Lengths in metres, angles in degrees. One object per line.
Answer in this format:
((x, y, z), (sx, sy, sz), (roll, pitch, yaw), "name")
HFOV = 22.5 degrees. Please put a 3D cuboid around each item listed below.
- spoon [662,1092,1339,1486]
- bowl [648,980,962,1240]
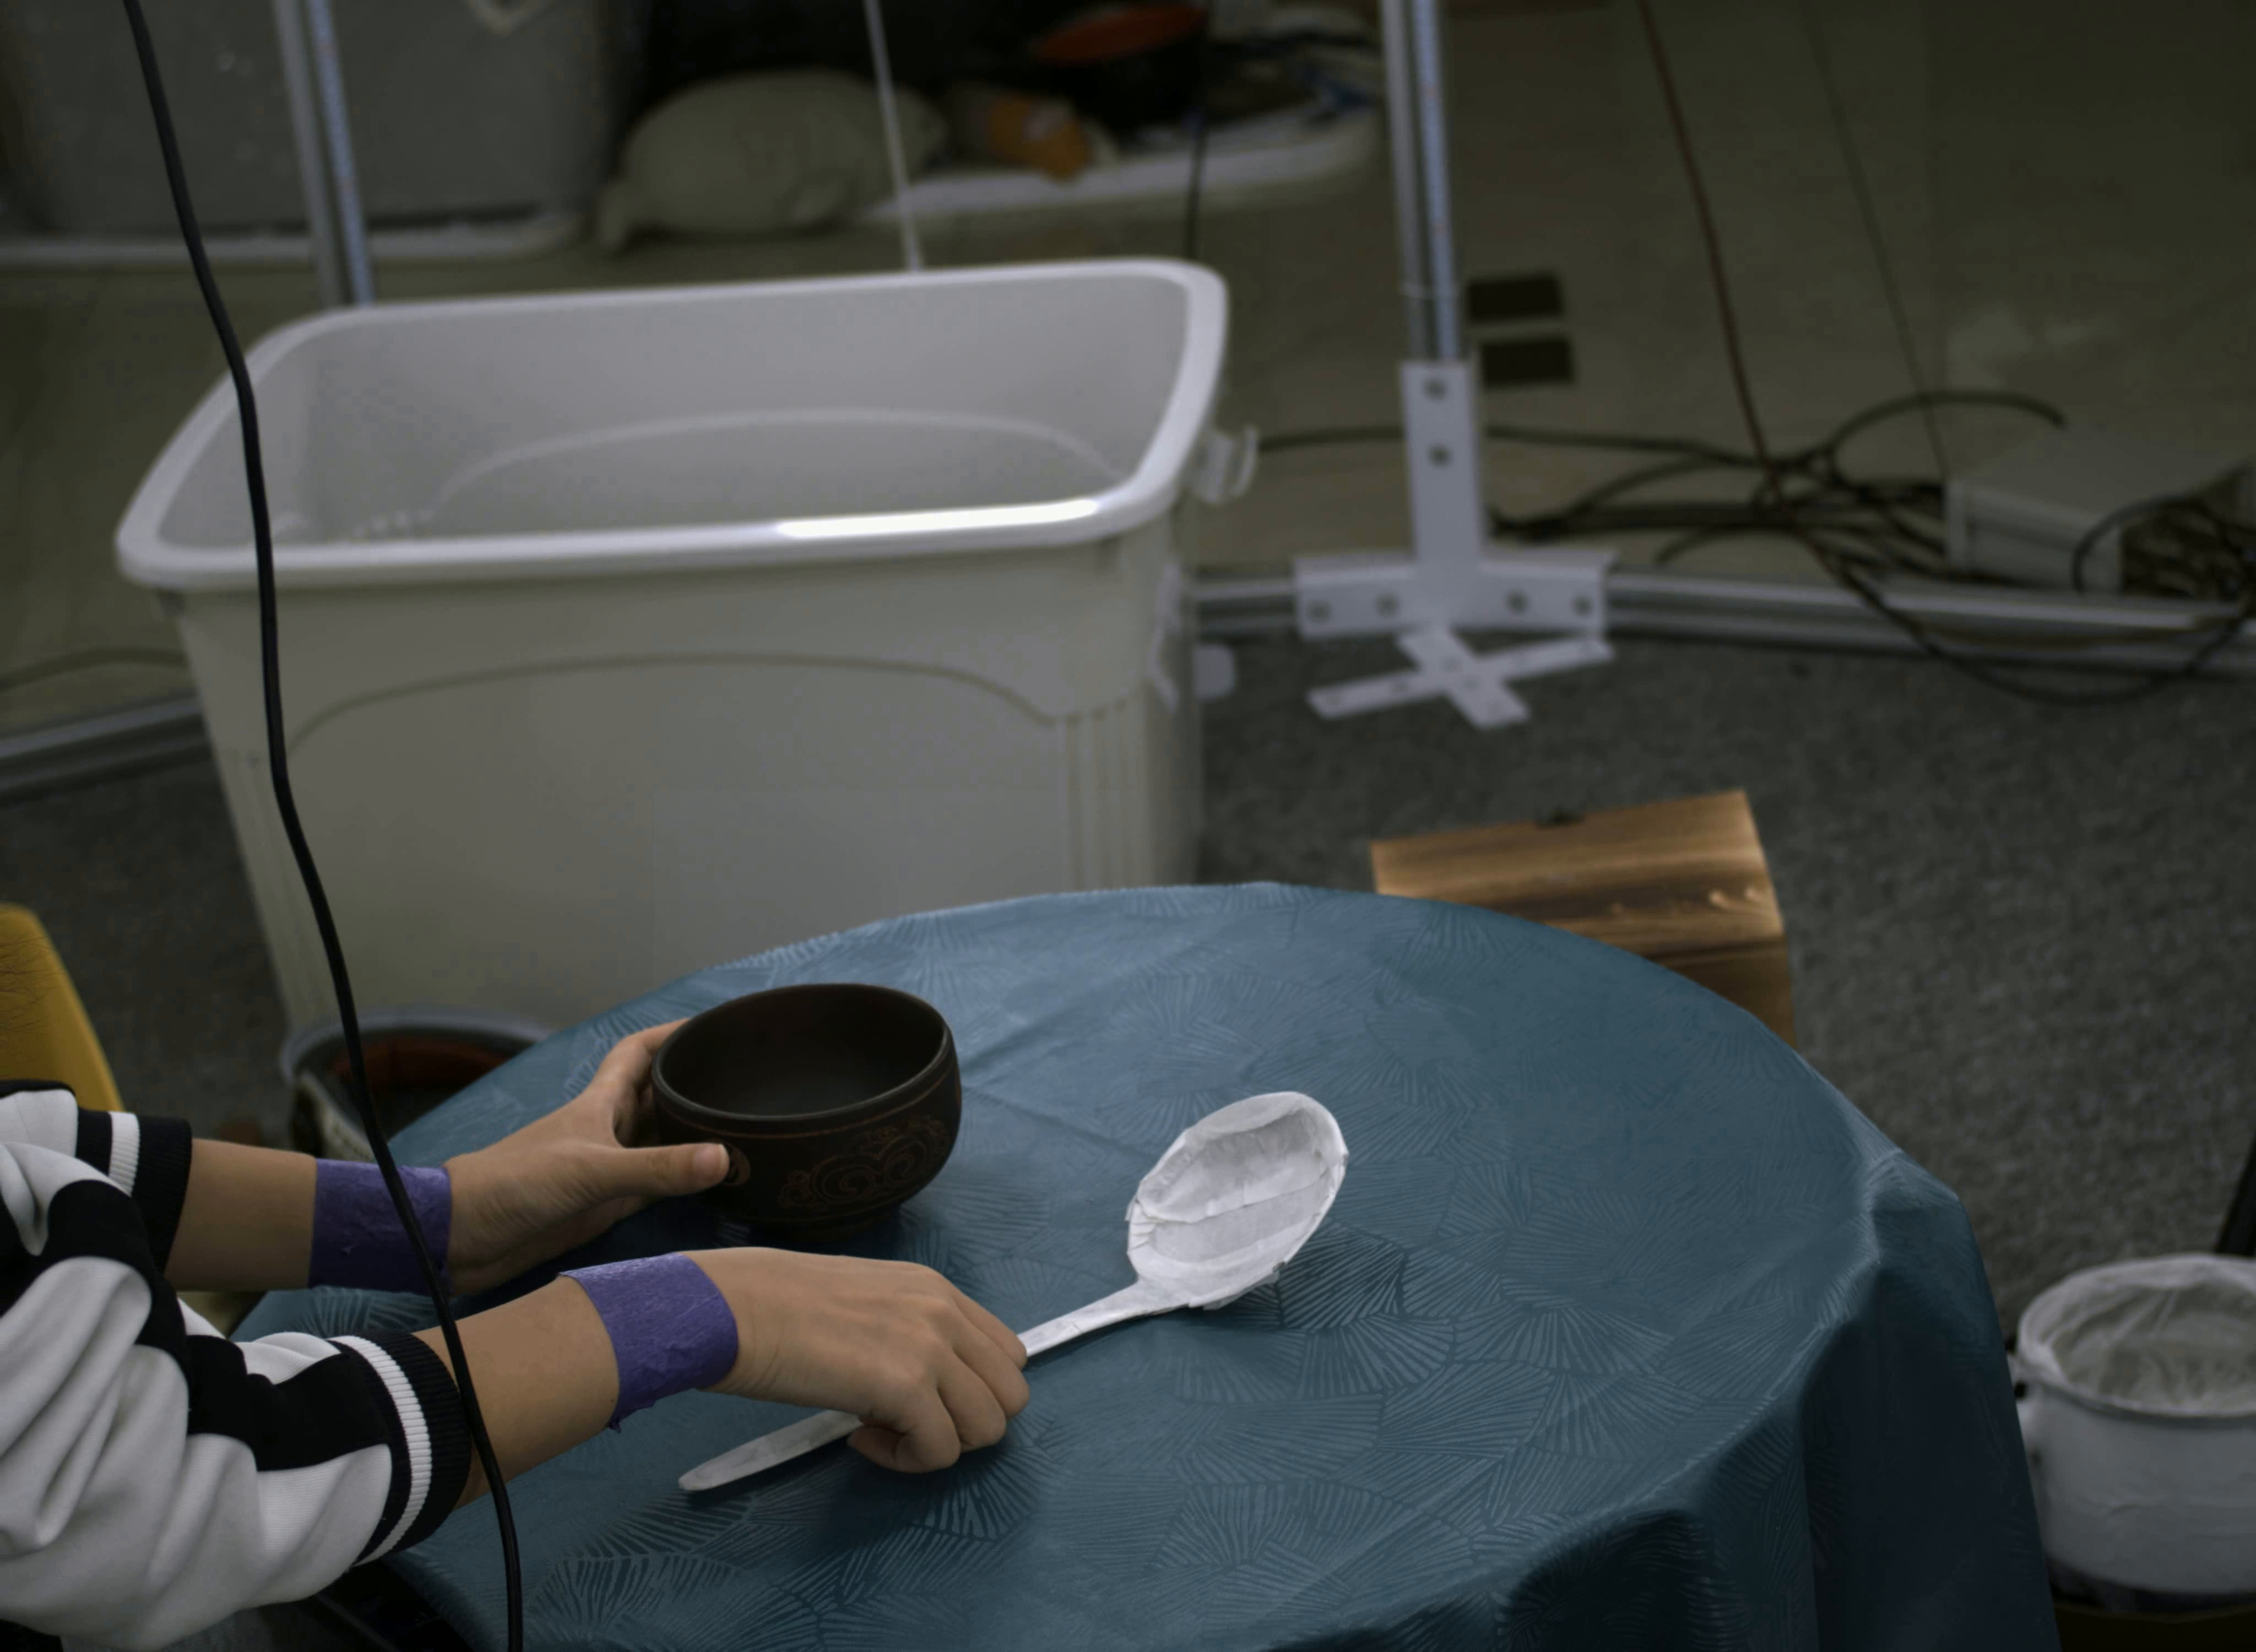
((-0.048, 0.164, 2.036), (0.276, 0.060, 0.100), (-18, 23, -25), "spoon")
((-0.120, 0.113, 2.145), (0.118, 0.071, 0.116), (-5, 25, 3), "bowl")
